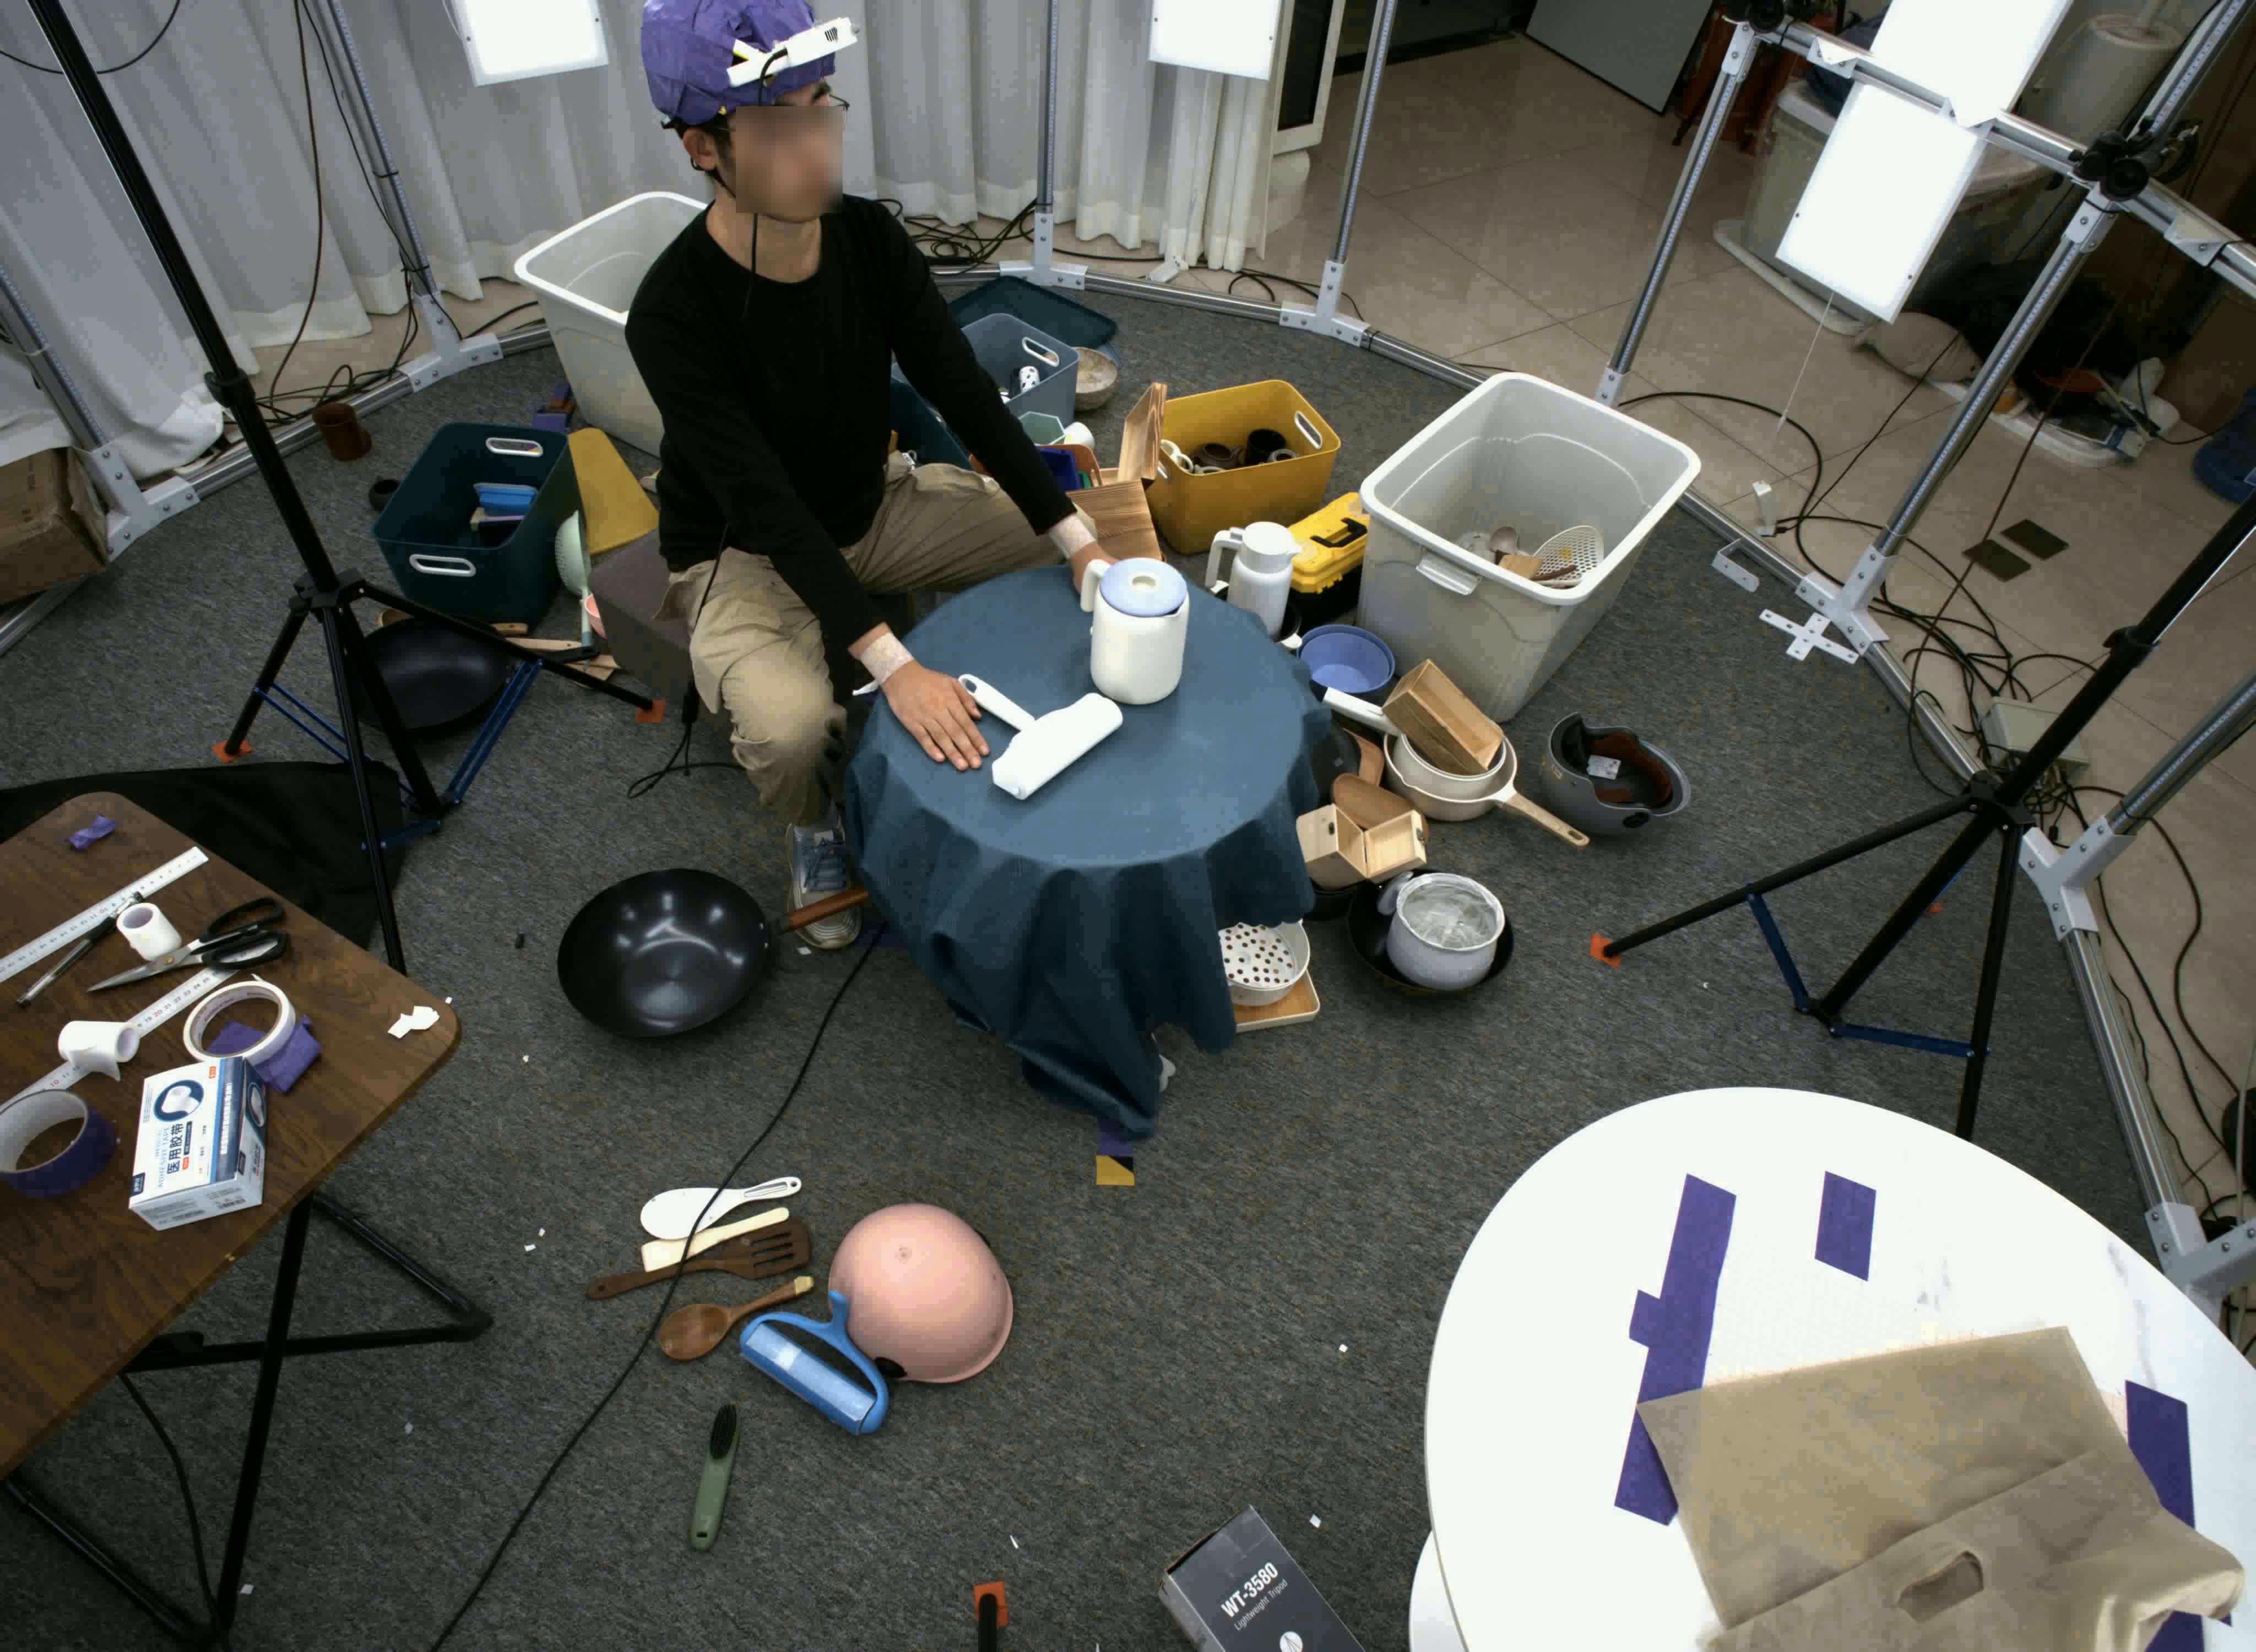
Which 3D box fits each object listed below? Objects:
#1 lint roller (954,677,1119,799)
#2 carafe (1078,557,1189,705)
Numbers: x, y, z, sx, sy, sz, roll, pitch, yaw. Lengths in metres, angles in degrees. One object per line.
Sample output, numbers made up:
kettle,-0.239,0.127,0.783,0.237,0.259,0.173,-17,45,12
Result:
lint roller,-0.156,-0.153,1.765,0.228,0.047,0.205,34,57,25
carafe,-0.001,-0.286,1.807,0.133,0.178,0.194,-33,57,-29
